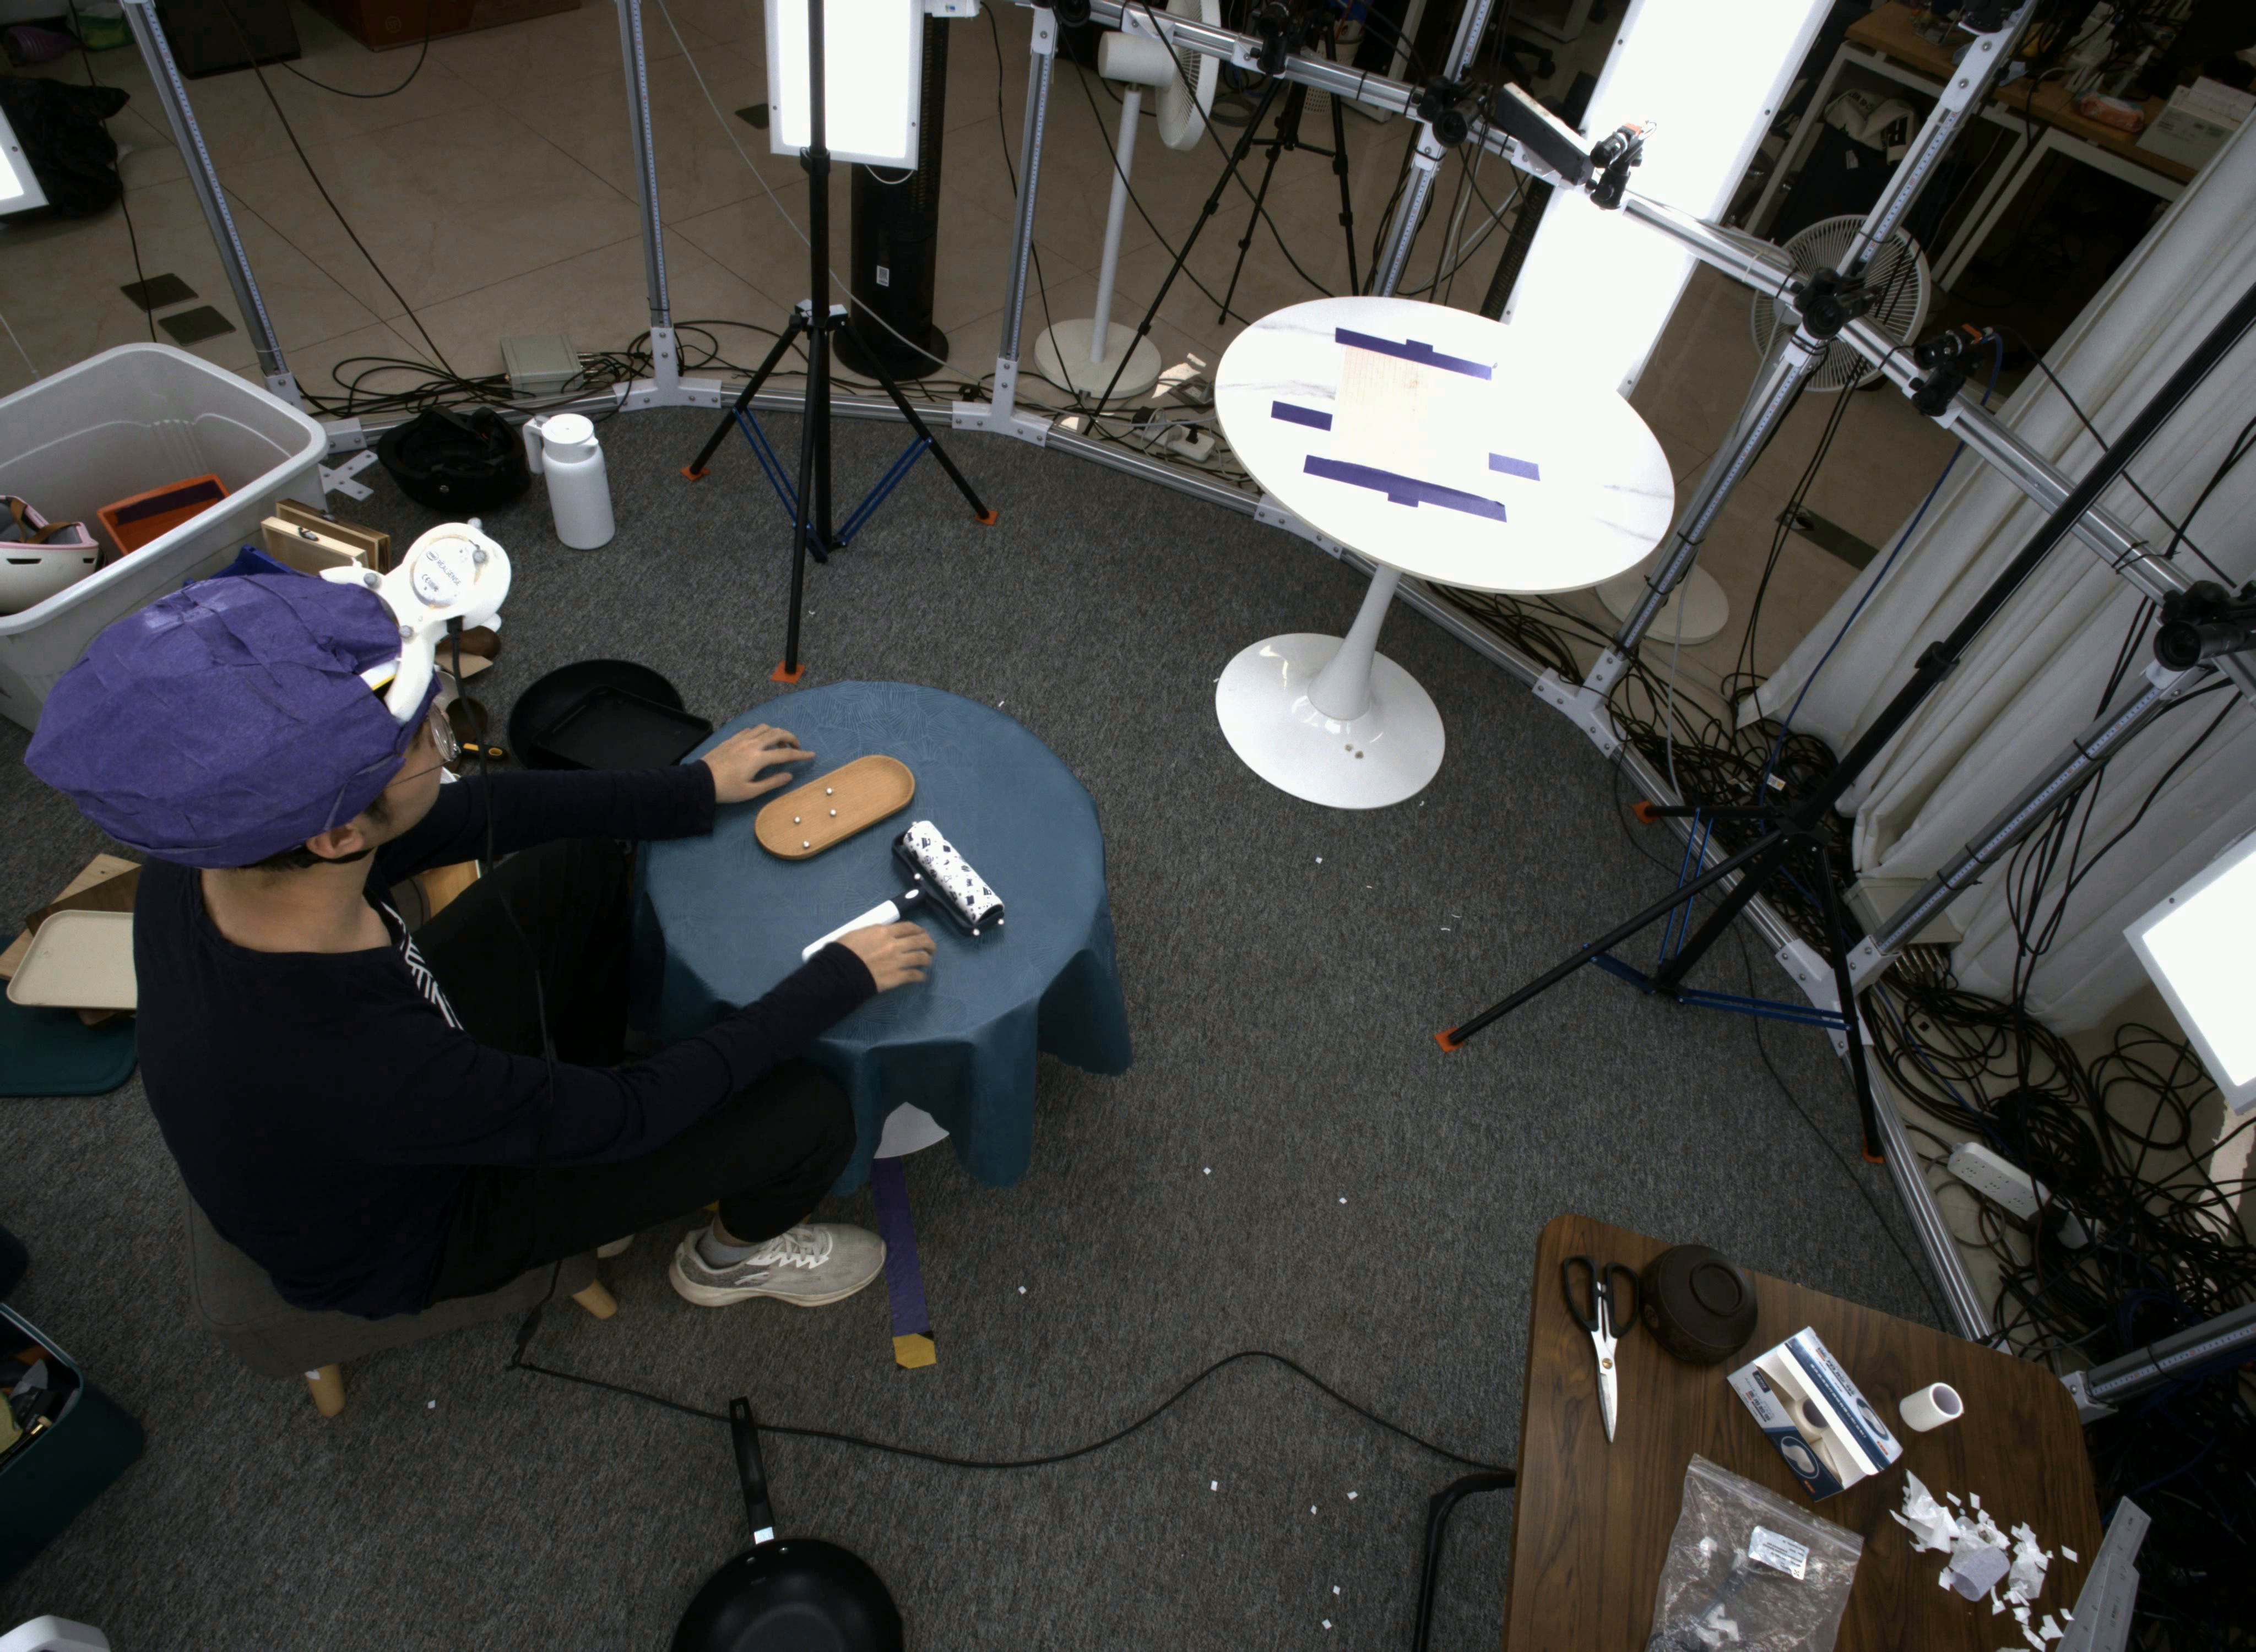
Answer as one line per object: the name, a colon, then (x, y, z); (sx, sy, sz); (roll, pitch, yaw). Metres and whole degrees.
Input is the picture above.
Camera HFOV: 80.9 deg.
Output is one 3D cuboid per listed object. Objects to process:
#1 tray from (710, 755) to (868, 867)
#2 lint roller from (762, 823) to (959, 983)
tray: (-0.451, -0.022, 1.734); (0.232, 0.020, 0.099); (-34, 70, -33)
lint roller: (-0.357, 0.114, 1.642); (0.247, 0.051, 0.172); (-36, 70, -29)
